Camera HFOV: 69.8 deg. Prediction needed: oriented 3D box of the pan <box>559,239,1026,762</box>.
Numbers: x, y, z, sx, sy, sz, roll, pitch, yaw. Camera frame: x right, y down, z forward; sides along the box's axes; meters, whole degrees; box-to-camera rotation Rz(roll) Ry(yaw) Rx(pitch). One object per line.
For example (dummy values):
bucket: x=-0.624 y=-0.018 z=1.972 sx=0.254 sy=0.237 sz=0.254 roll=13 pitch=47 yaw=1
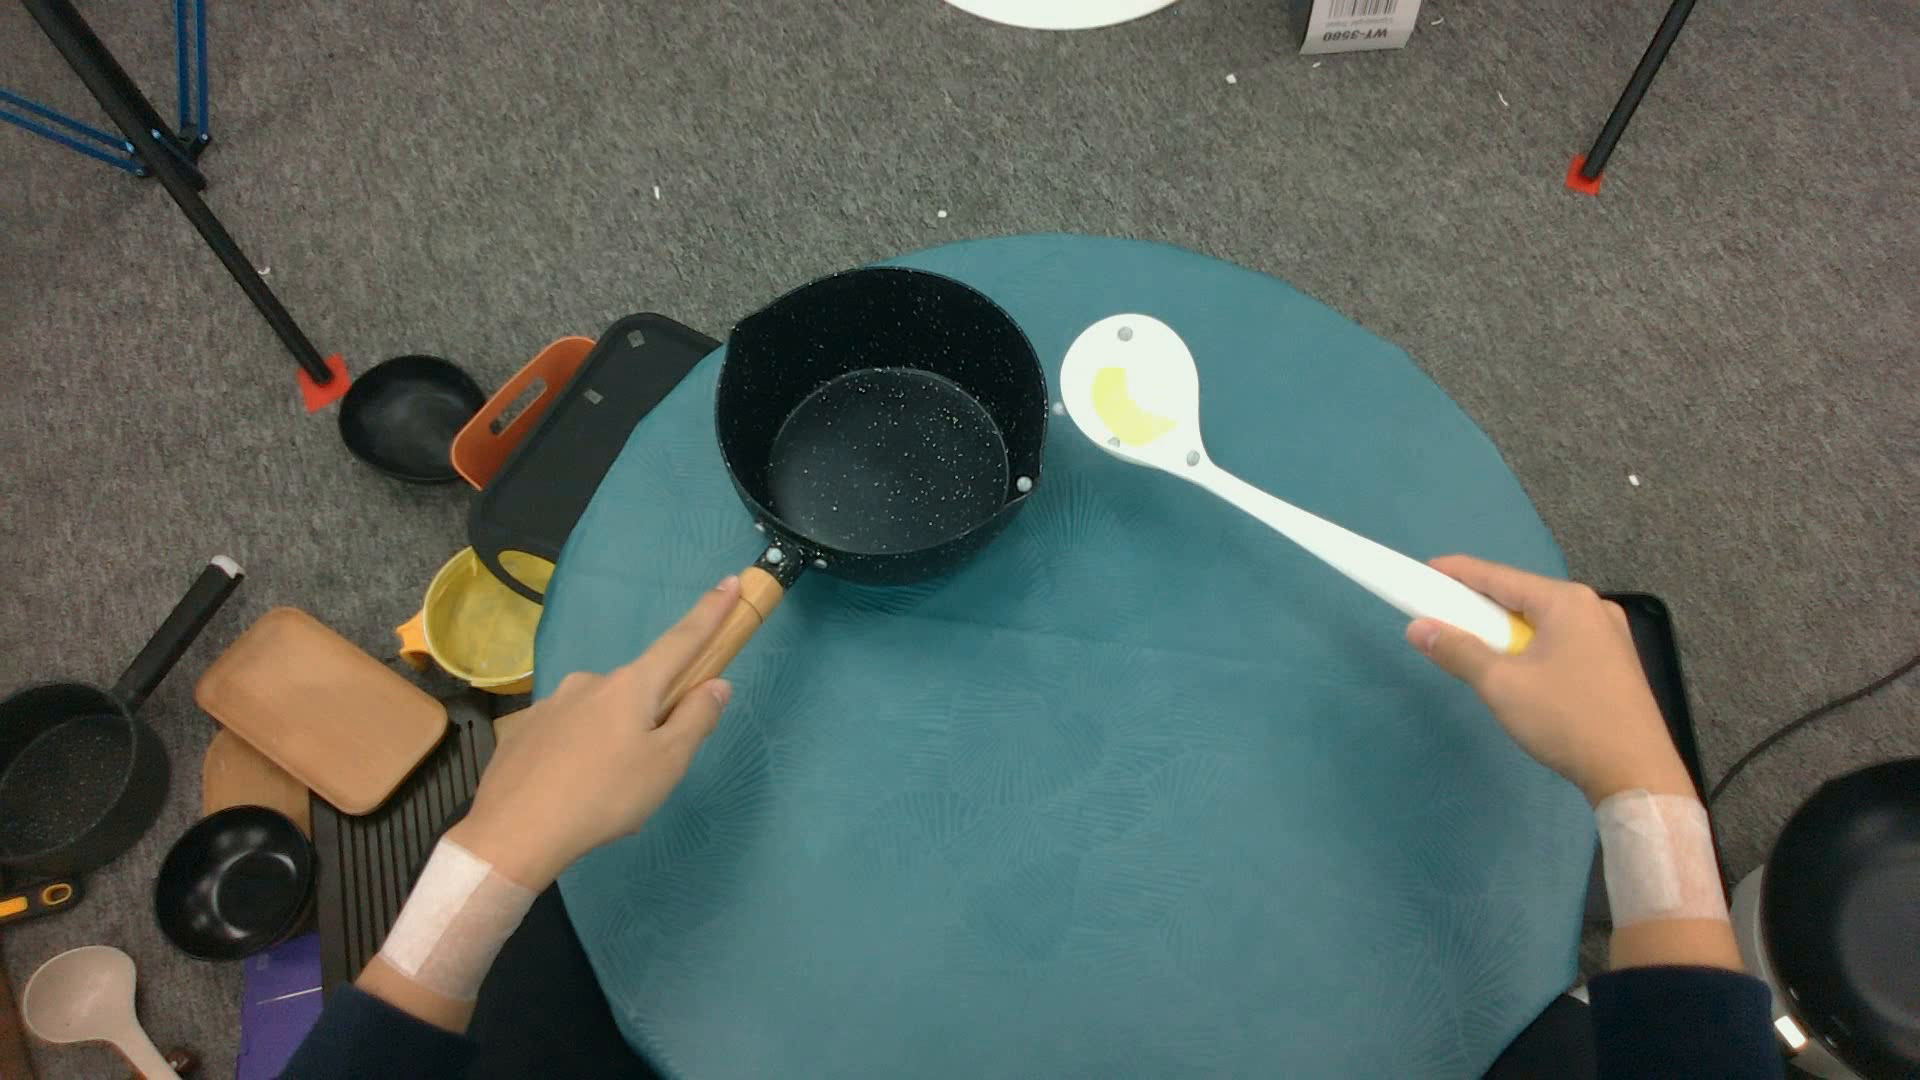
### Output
pan: x=-0.095 y=-0.013 z=0.750 sx=0.207 sy=0.108 sz=0.344 roll=27 pitch=66 yaw=10

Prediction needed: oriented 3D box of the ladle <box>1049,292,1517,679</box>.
ladle: x=0.167 y=-0.035 z=0.736 sx=0.090 sy=0.069 sz=0.293 roll=-34 pitch=56 yaw=-27
